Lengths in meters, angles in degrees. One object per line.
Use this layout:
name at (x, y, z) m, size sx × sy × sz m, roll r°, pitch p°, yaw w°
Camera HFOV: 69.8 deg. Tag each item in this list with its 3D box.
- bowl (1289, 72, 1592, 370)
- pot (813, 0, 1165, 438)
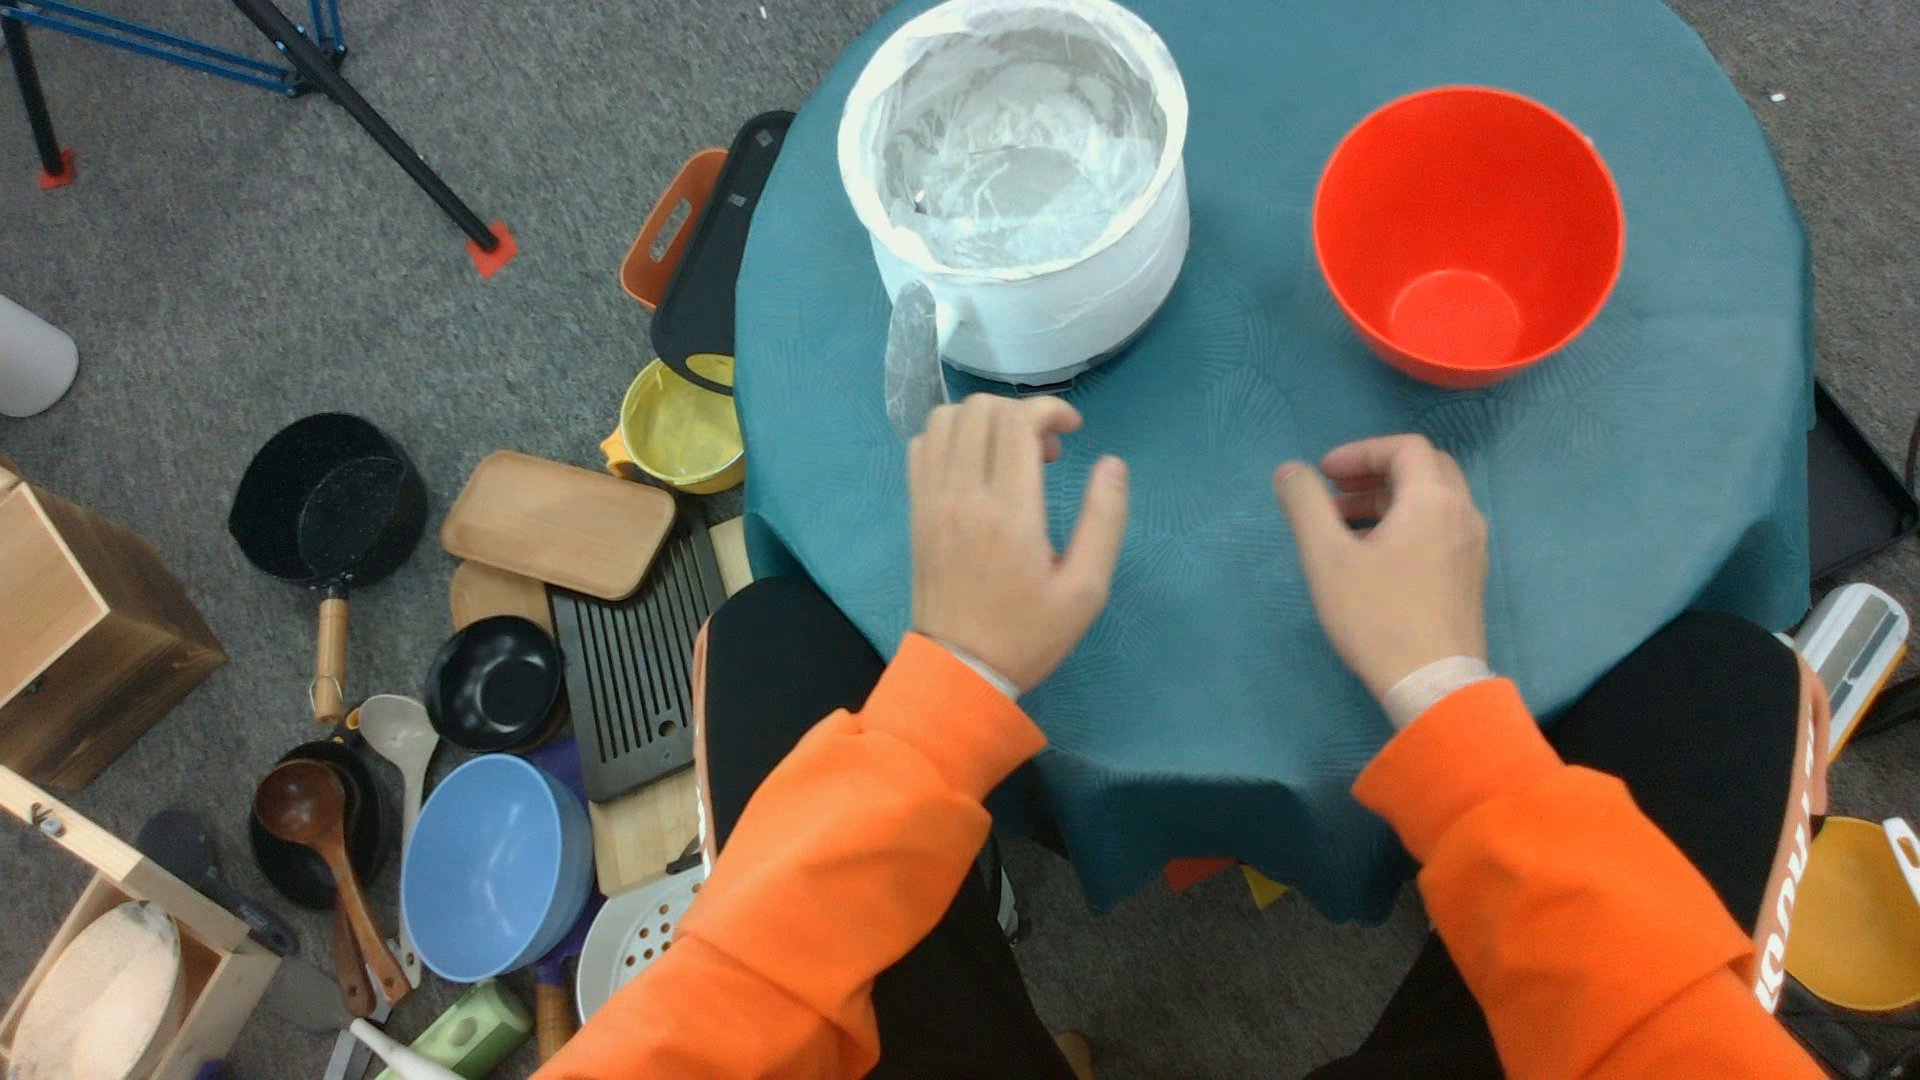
bowl at (0.244, -0.152, 0.719) m, size 0.148 × 0.104 × 0.148 m, roll -3°, pitch 72°, yaw 8°
pot at (0.010, -0.173, 0.743) m, size 0.178 × 0.136 × 0.234 m, roll 21°, pitch 75°, yaw 17°
